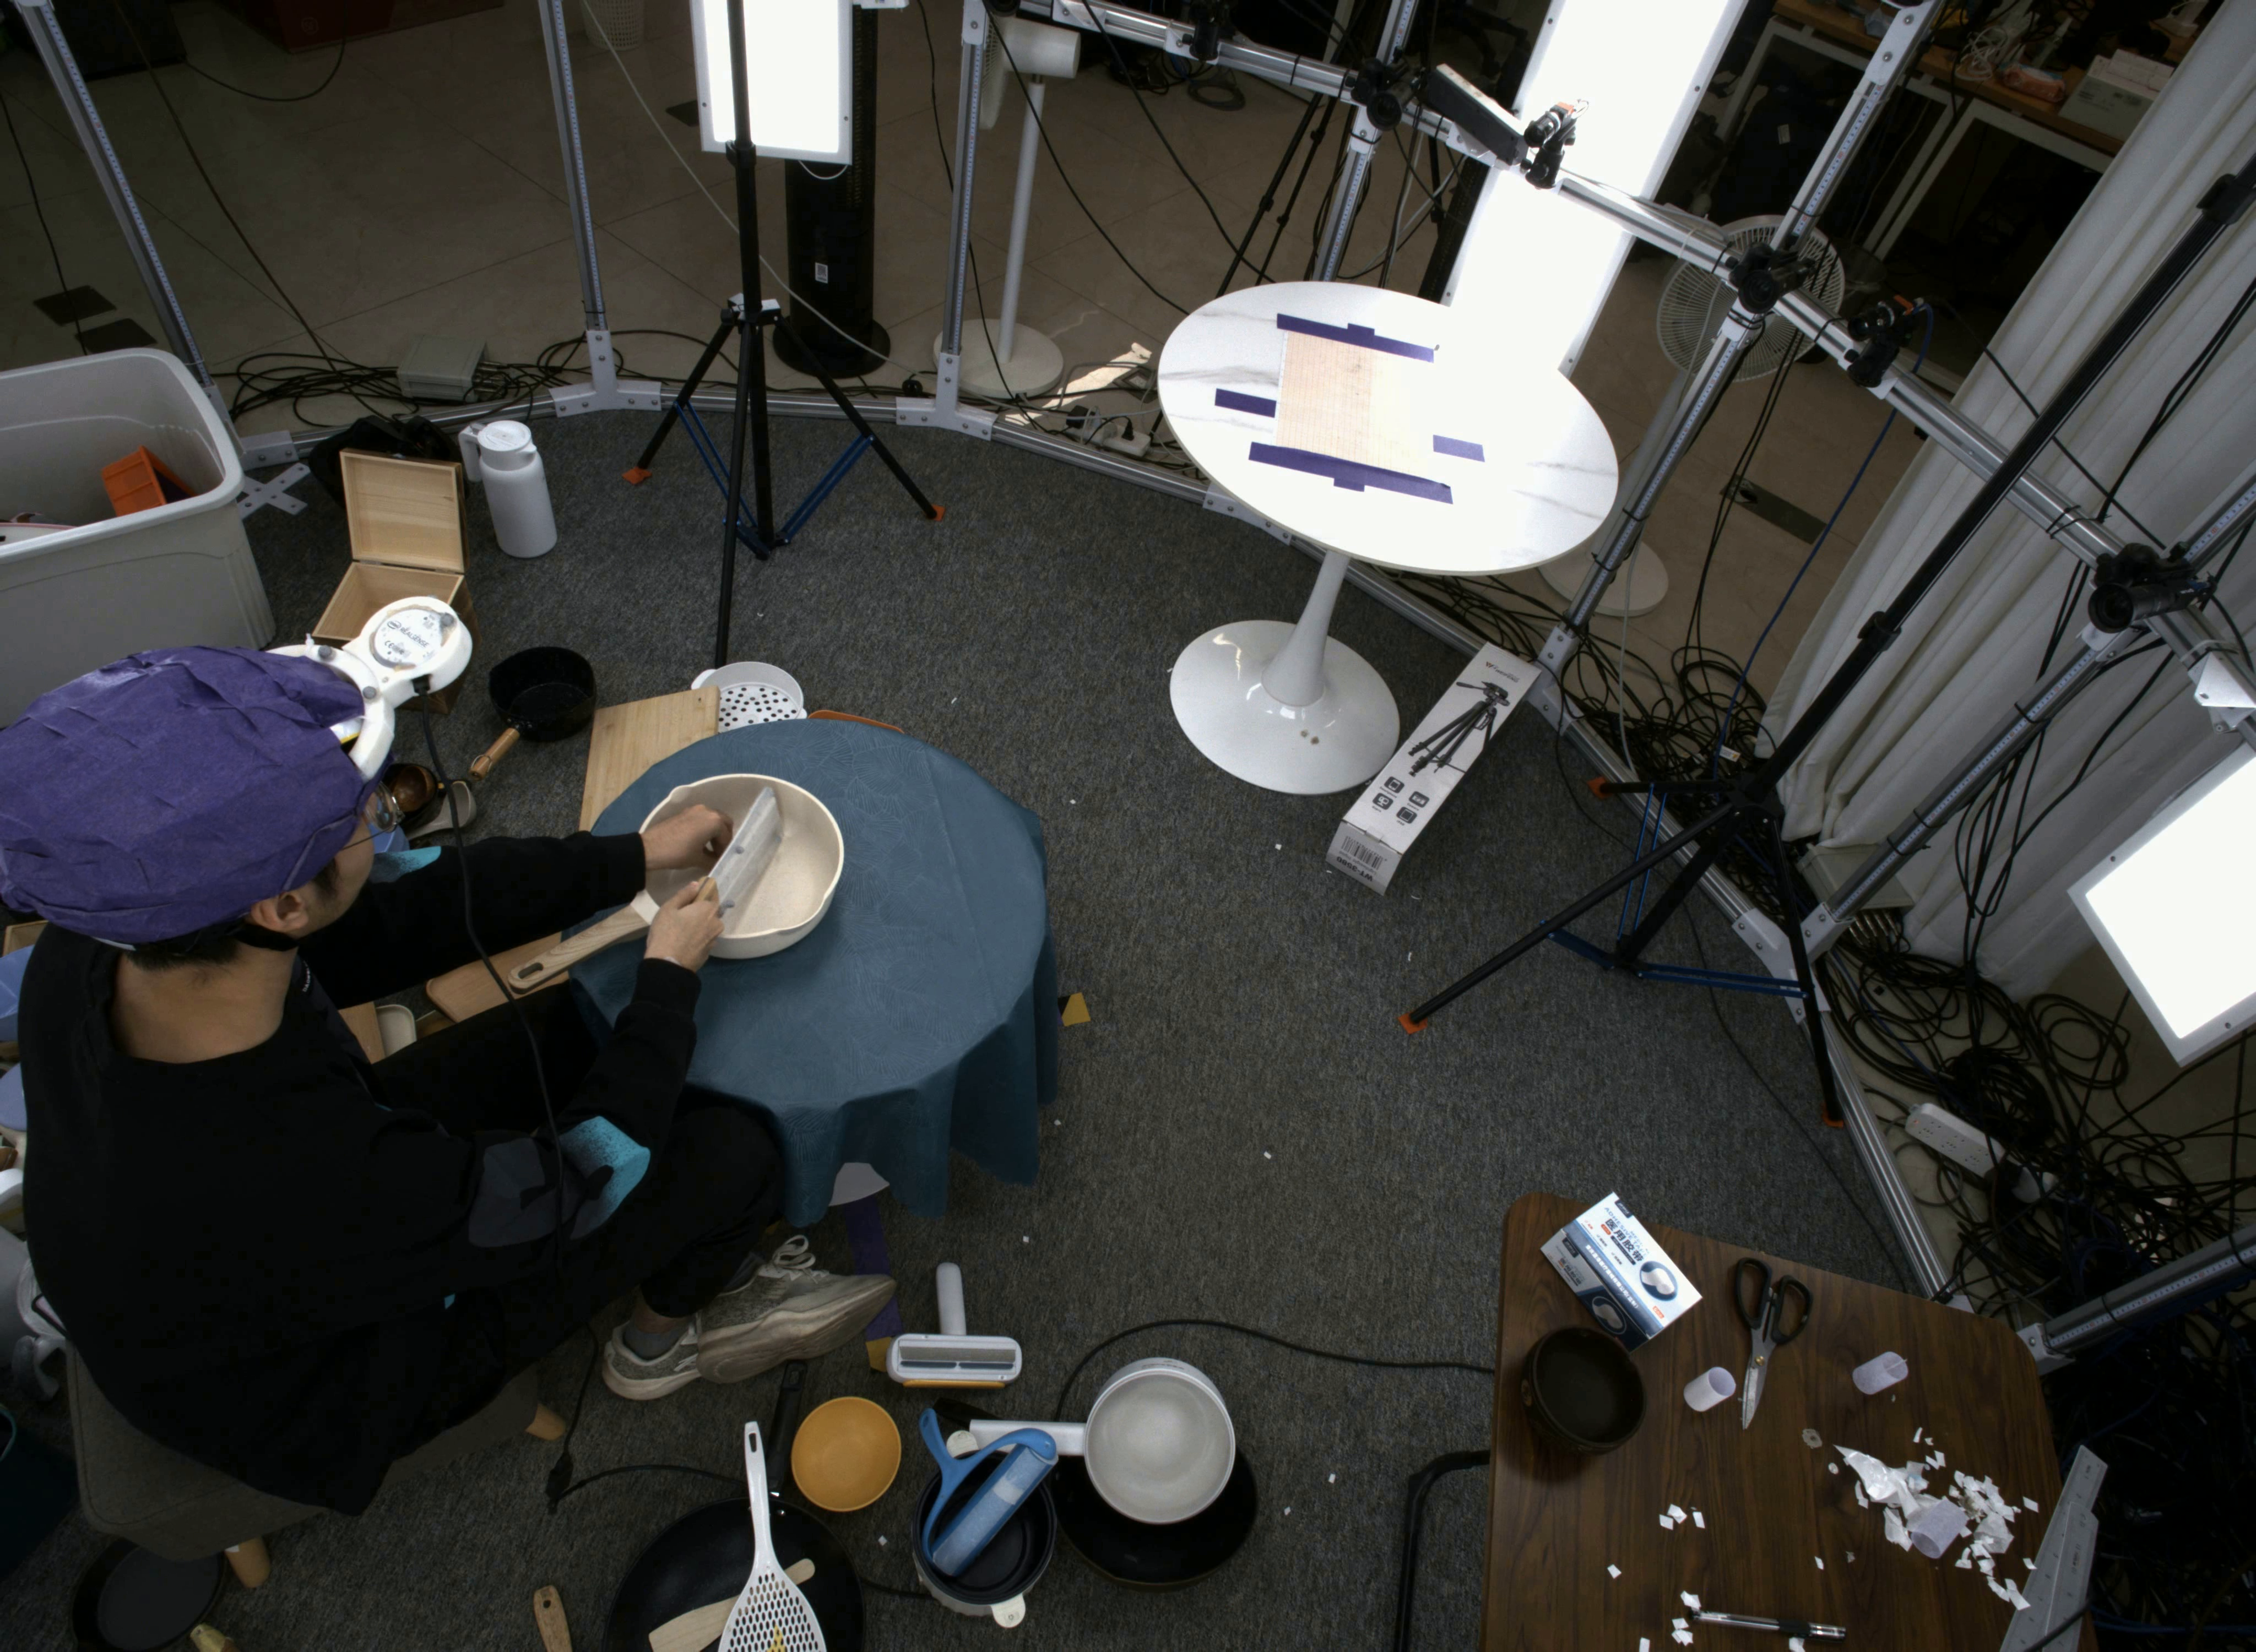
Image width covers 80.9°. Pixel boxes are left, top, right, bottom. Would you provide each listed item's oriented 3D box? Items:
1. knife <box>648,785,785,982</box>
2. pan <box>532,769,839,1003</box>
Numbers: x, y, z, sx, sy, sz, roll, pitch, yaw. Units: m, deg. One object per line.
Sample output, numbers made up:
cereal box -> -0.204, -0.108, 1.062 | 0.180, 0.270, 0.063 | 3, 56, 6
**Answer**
knife -> -0.482, 0.068, 1.533 | 0.021, 0.117, 0.311 | 10, 37, 10
pan -> -0.543, 0.096, 1.545 | 0.258, 0.104, 0.435 | 41, 54, 14
